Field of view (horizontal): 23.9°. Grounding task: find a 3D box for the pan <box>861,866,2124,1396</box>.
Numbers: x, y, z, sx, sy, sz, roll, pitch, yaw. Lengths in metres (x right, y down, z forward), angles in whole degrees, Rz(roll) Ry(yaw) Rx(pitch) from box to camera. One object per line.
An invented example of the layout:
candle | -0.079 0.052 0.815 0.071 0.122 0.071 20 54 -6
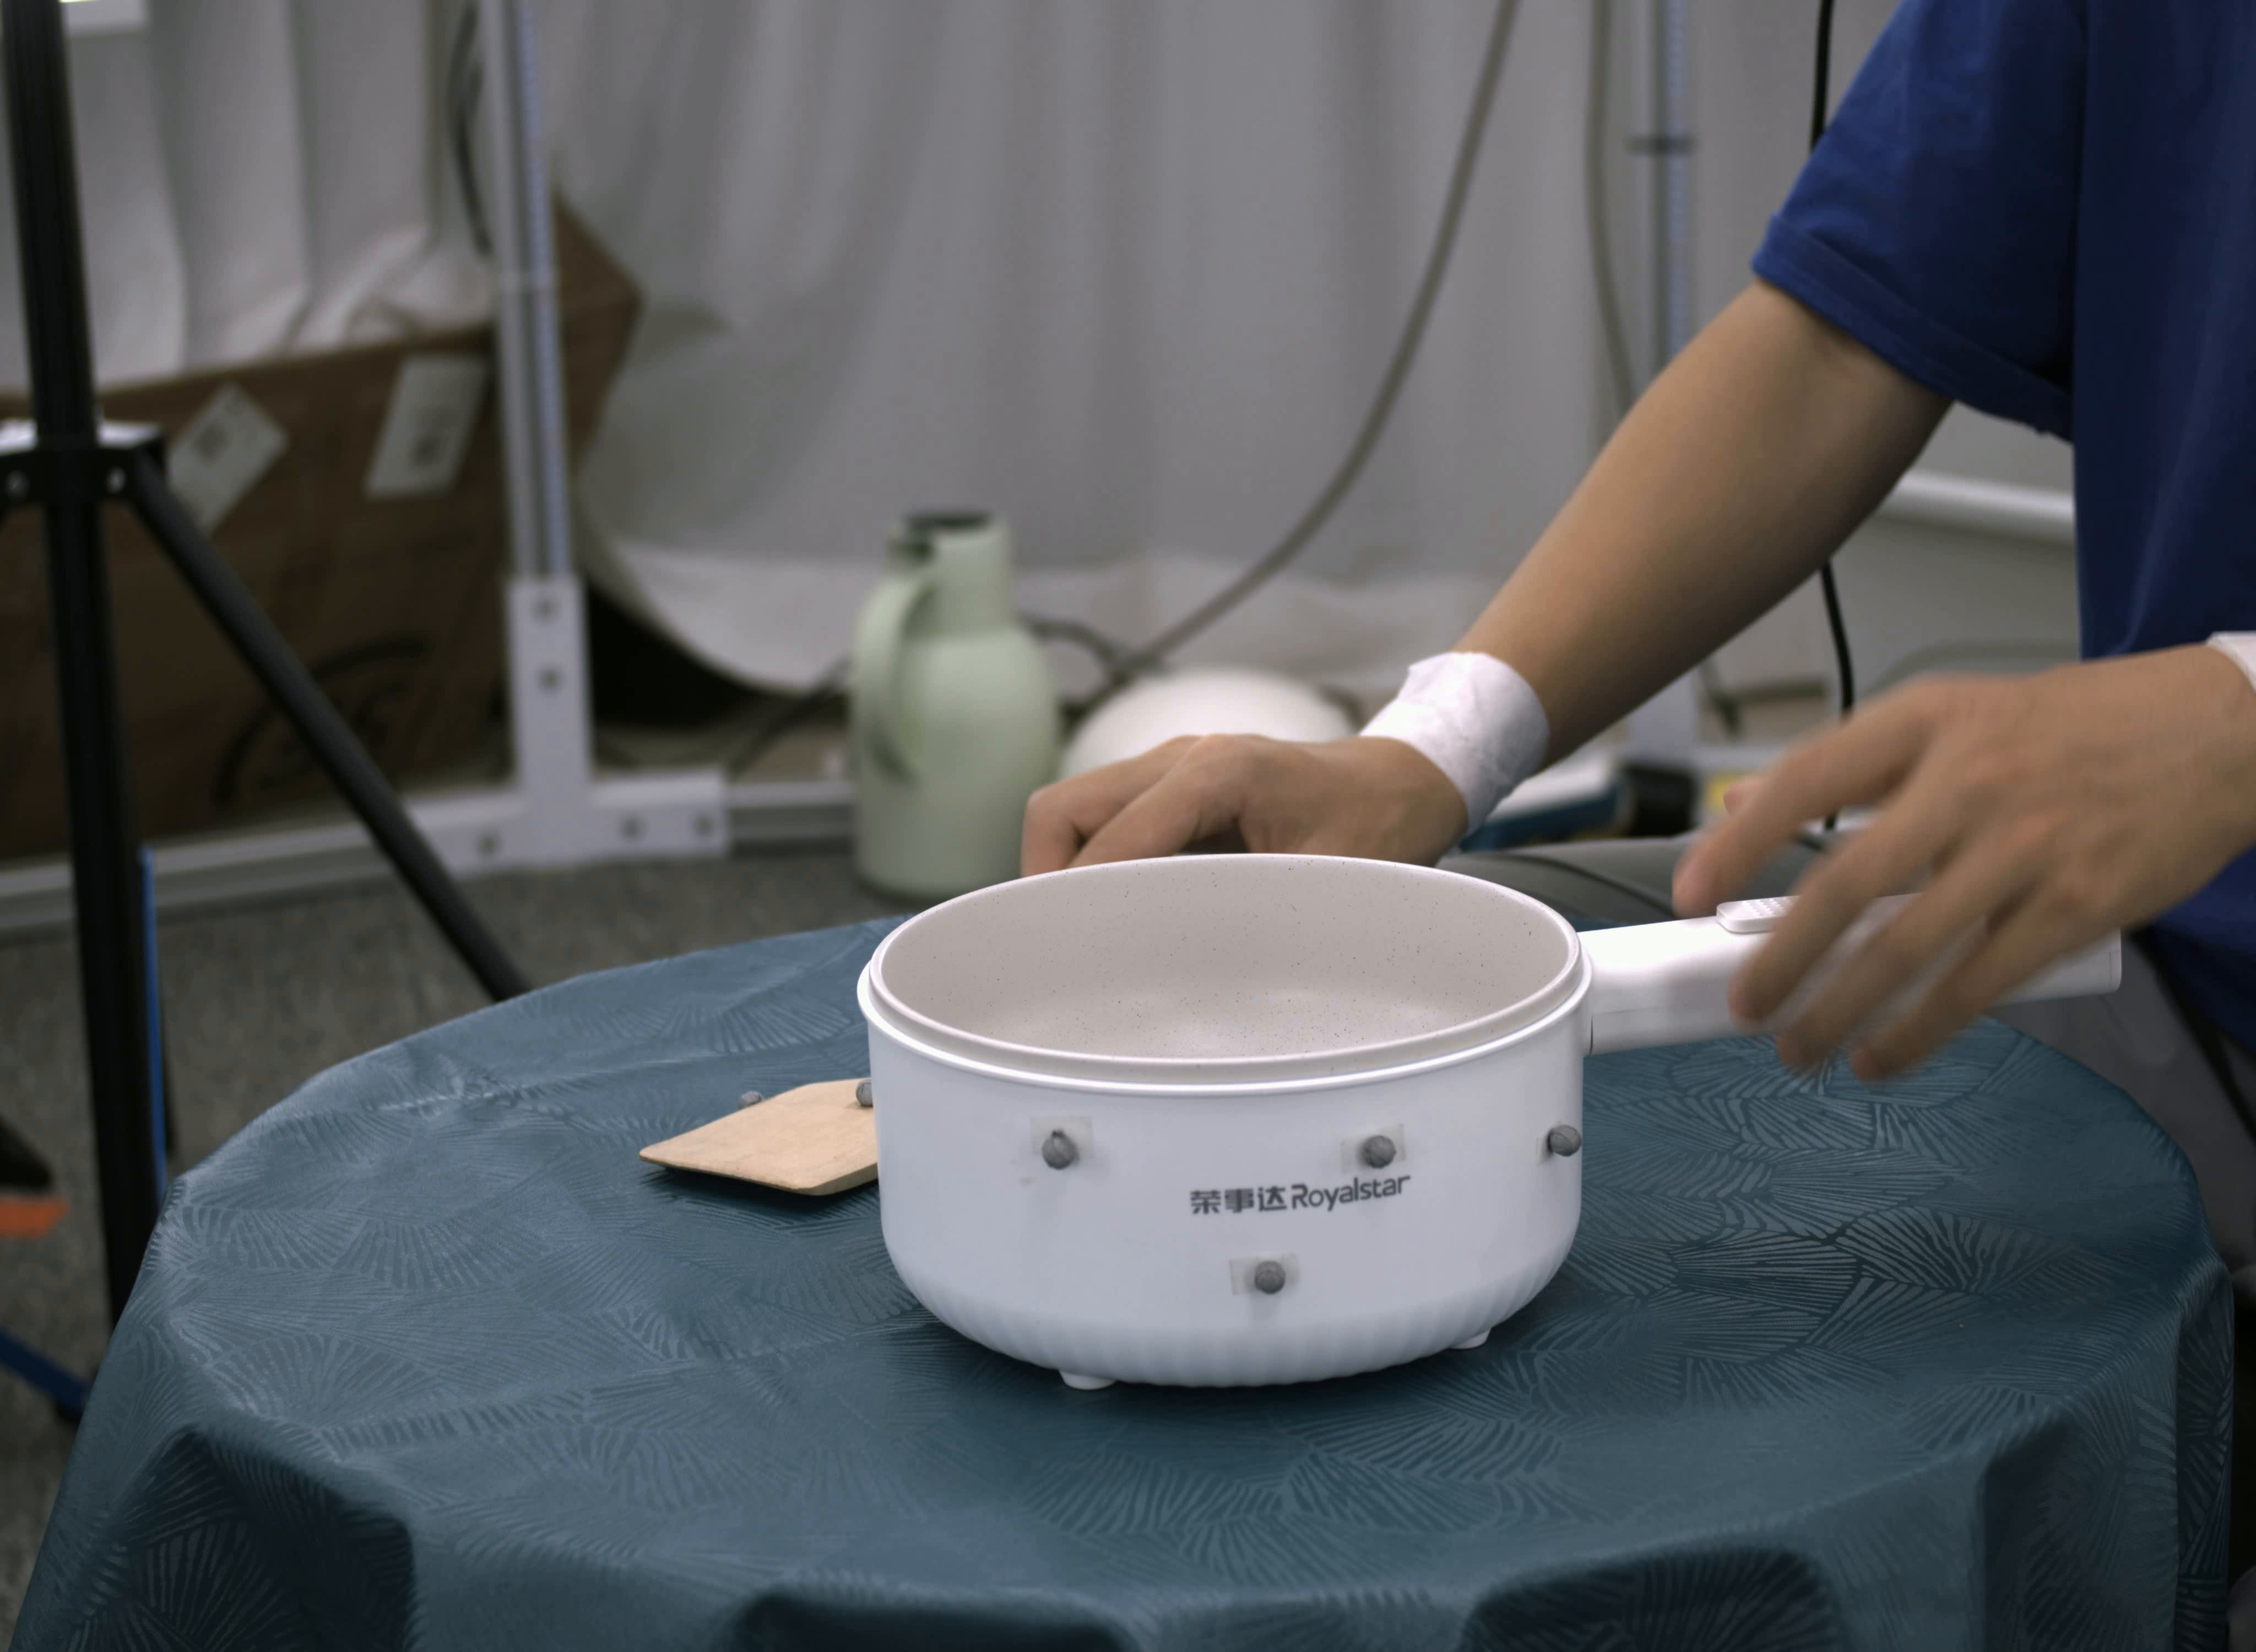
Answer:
pan | 0.104 0.078 1.471 0.350 0.102 0.203 -5 14 -10

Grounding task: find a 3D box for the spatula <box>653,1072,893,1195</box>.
spatula | -0.033 0.070 1.681 0.074 0.010 0.287 9 19 36
